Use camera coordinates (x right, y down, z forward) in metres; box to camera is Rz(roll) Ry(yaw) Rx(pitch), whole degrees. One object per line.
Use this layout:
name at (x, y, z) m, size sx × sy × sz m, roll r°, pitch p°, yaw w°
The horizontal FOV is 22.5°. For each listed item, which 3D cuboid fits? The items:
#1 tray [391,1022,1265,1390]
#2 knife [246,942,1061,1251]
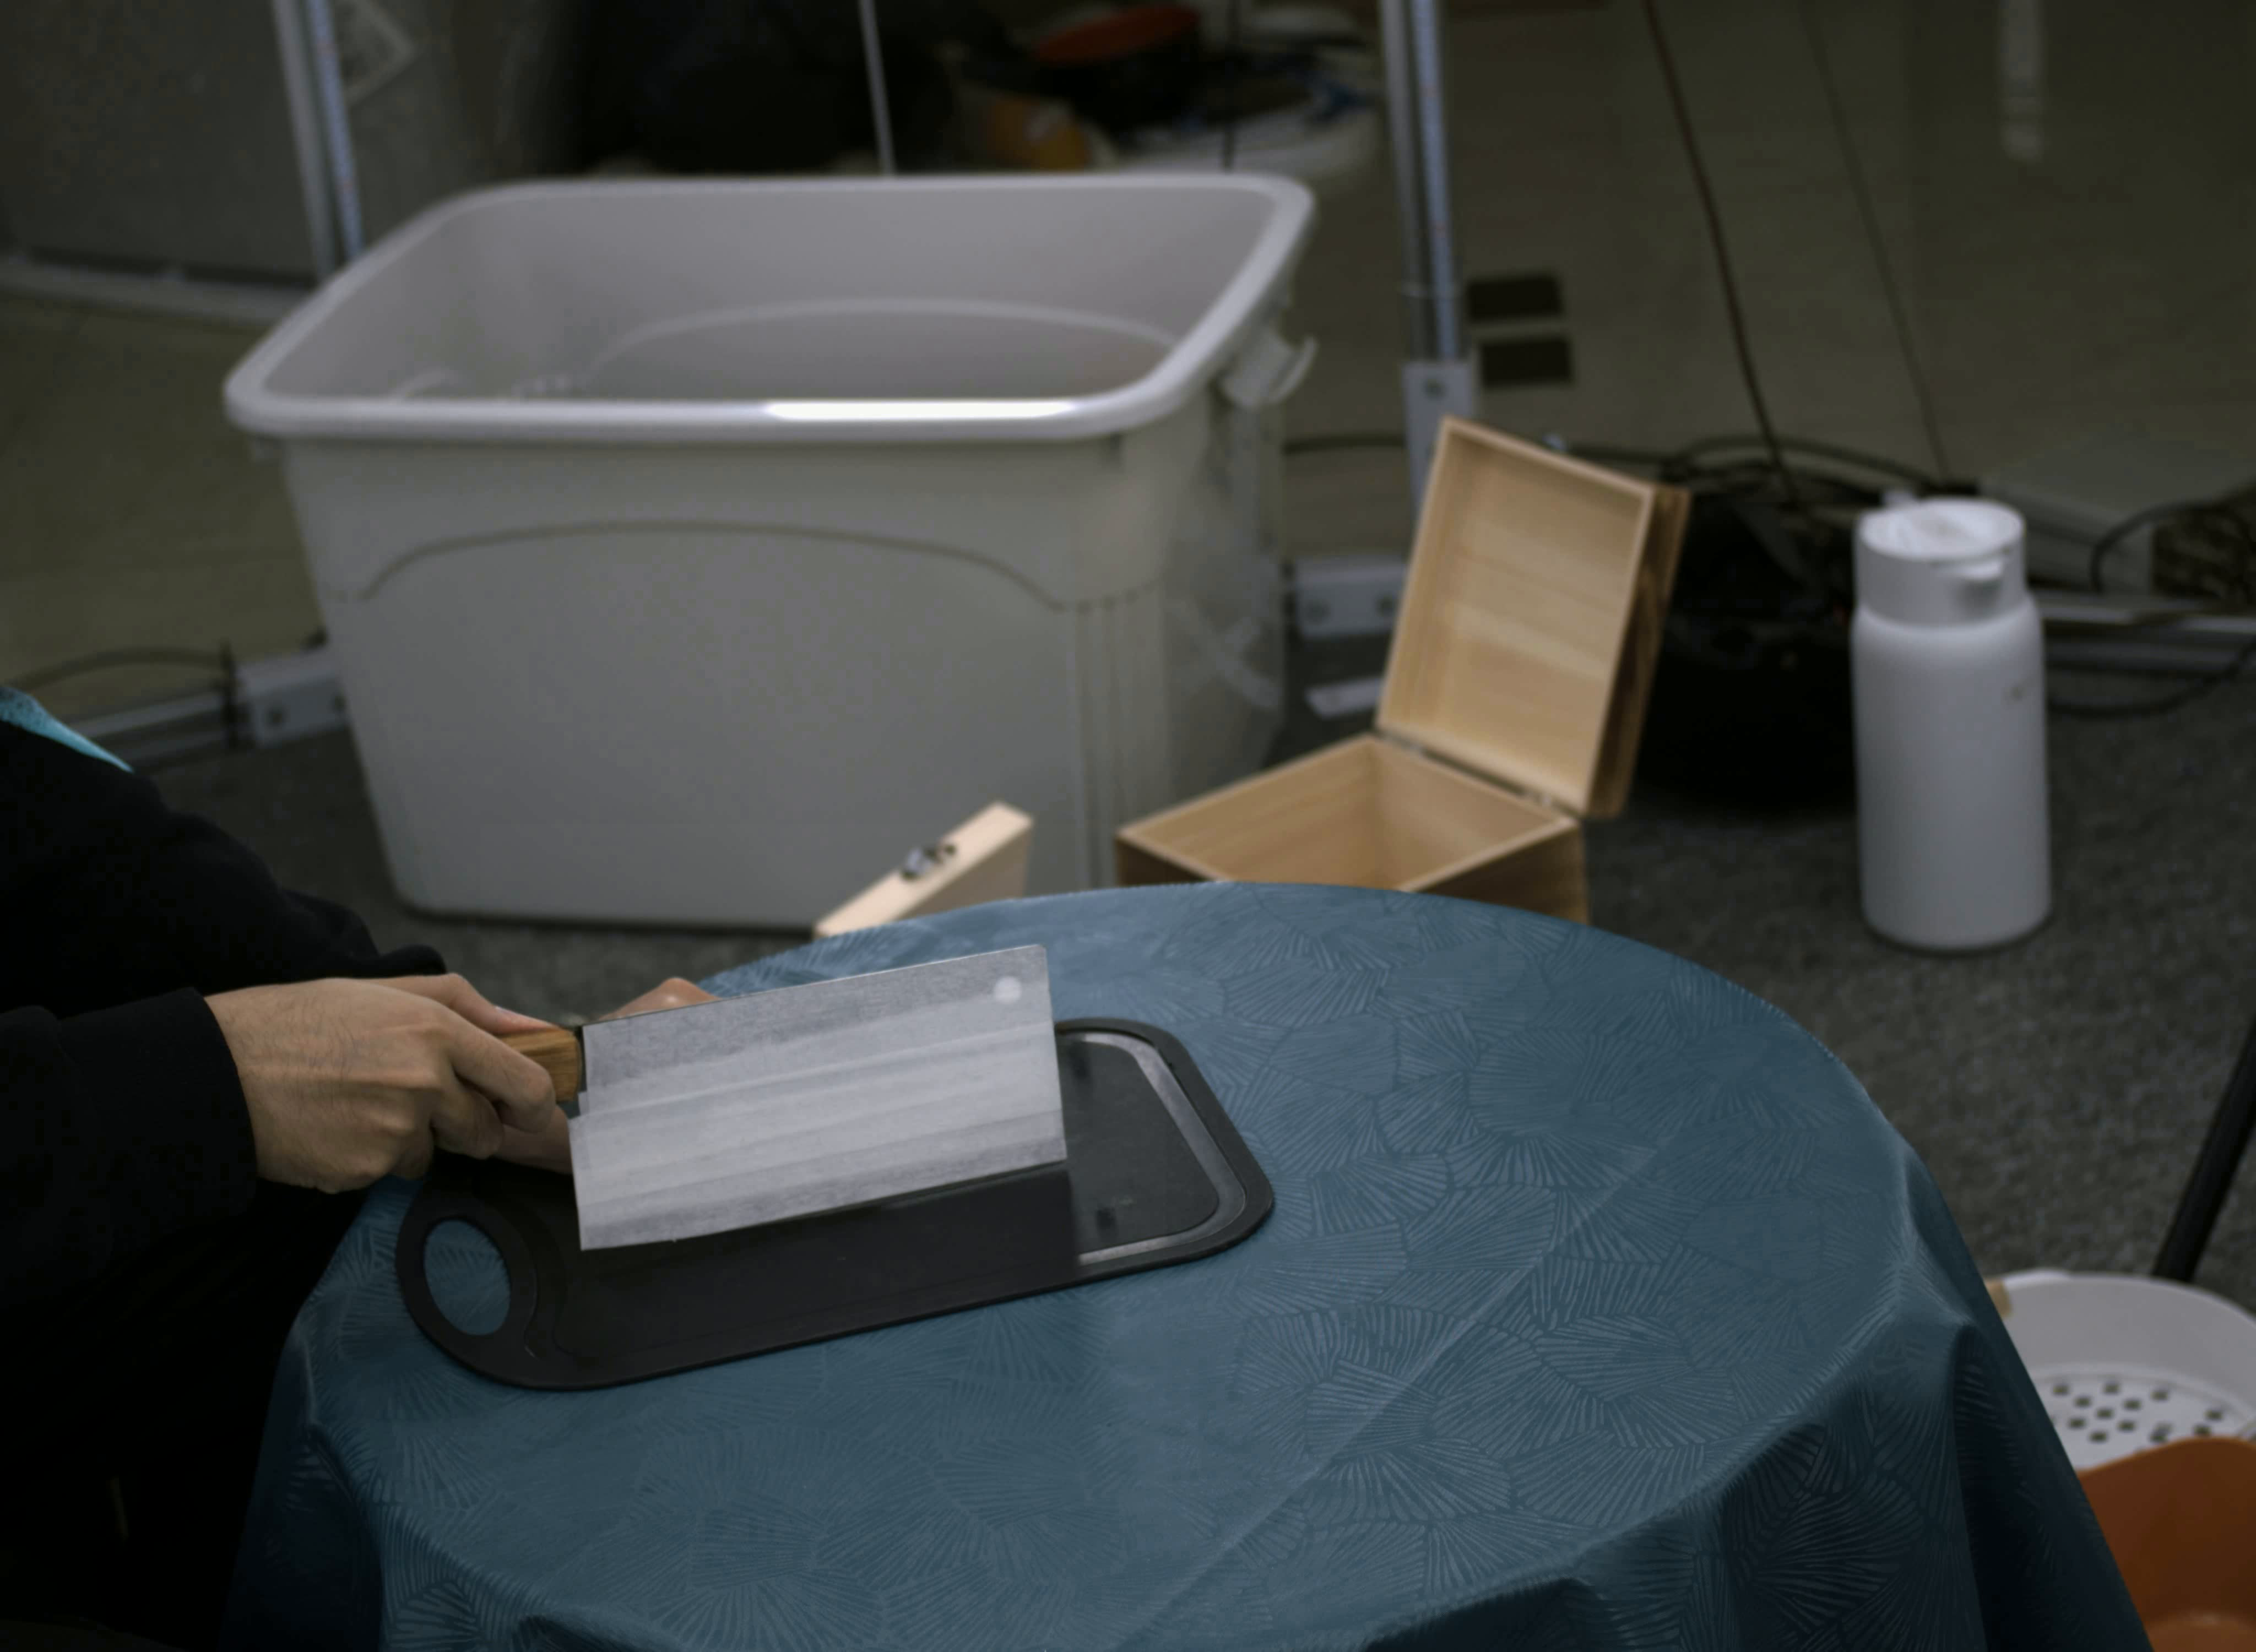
tray at (-0.119, 0.142, 2.161) m, size 0.324 × 0.010 × 0.208 m, roll -11°, pitch 25°, yaw -10°
knife at (-0.173, 0.110, 2.118) m, size 0.305 × 0.094 × 0.021 m, roll -10°, pitch 19°, yaw -13°
